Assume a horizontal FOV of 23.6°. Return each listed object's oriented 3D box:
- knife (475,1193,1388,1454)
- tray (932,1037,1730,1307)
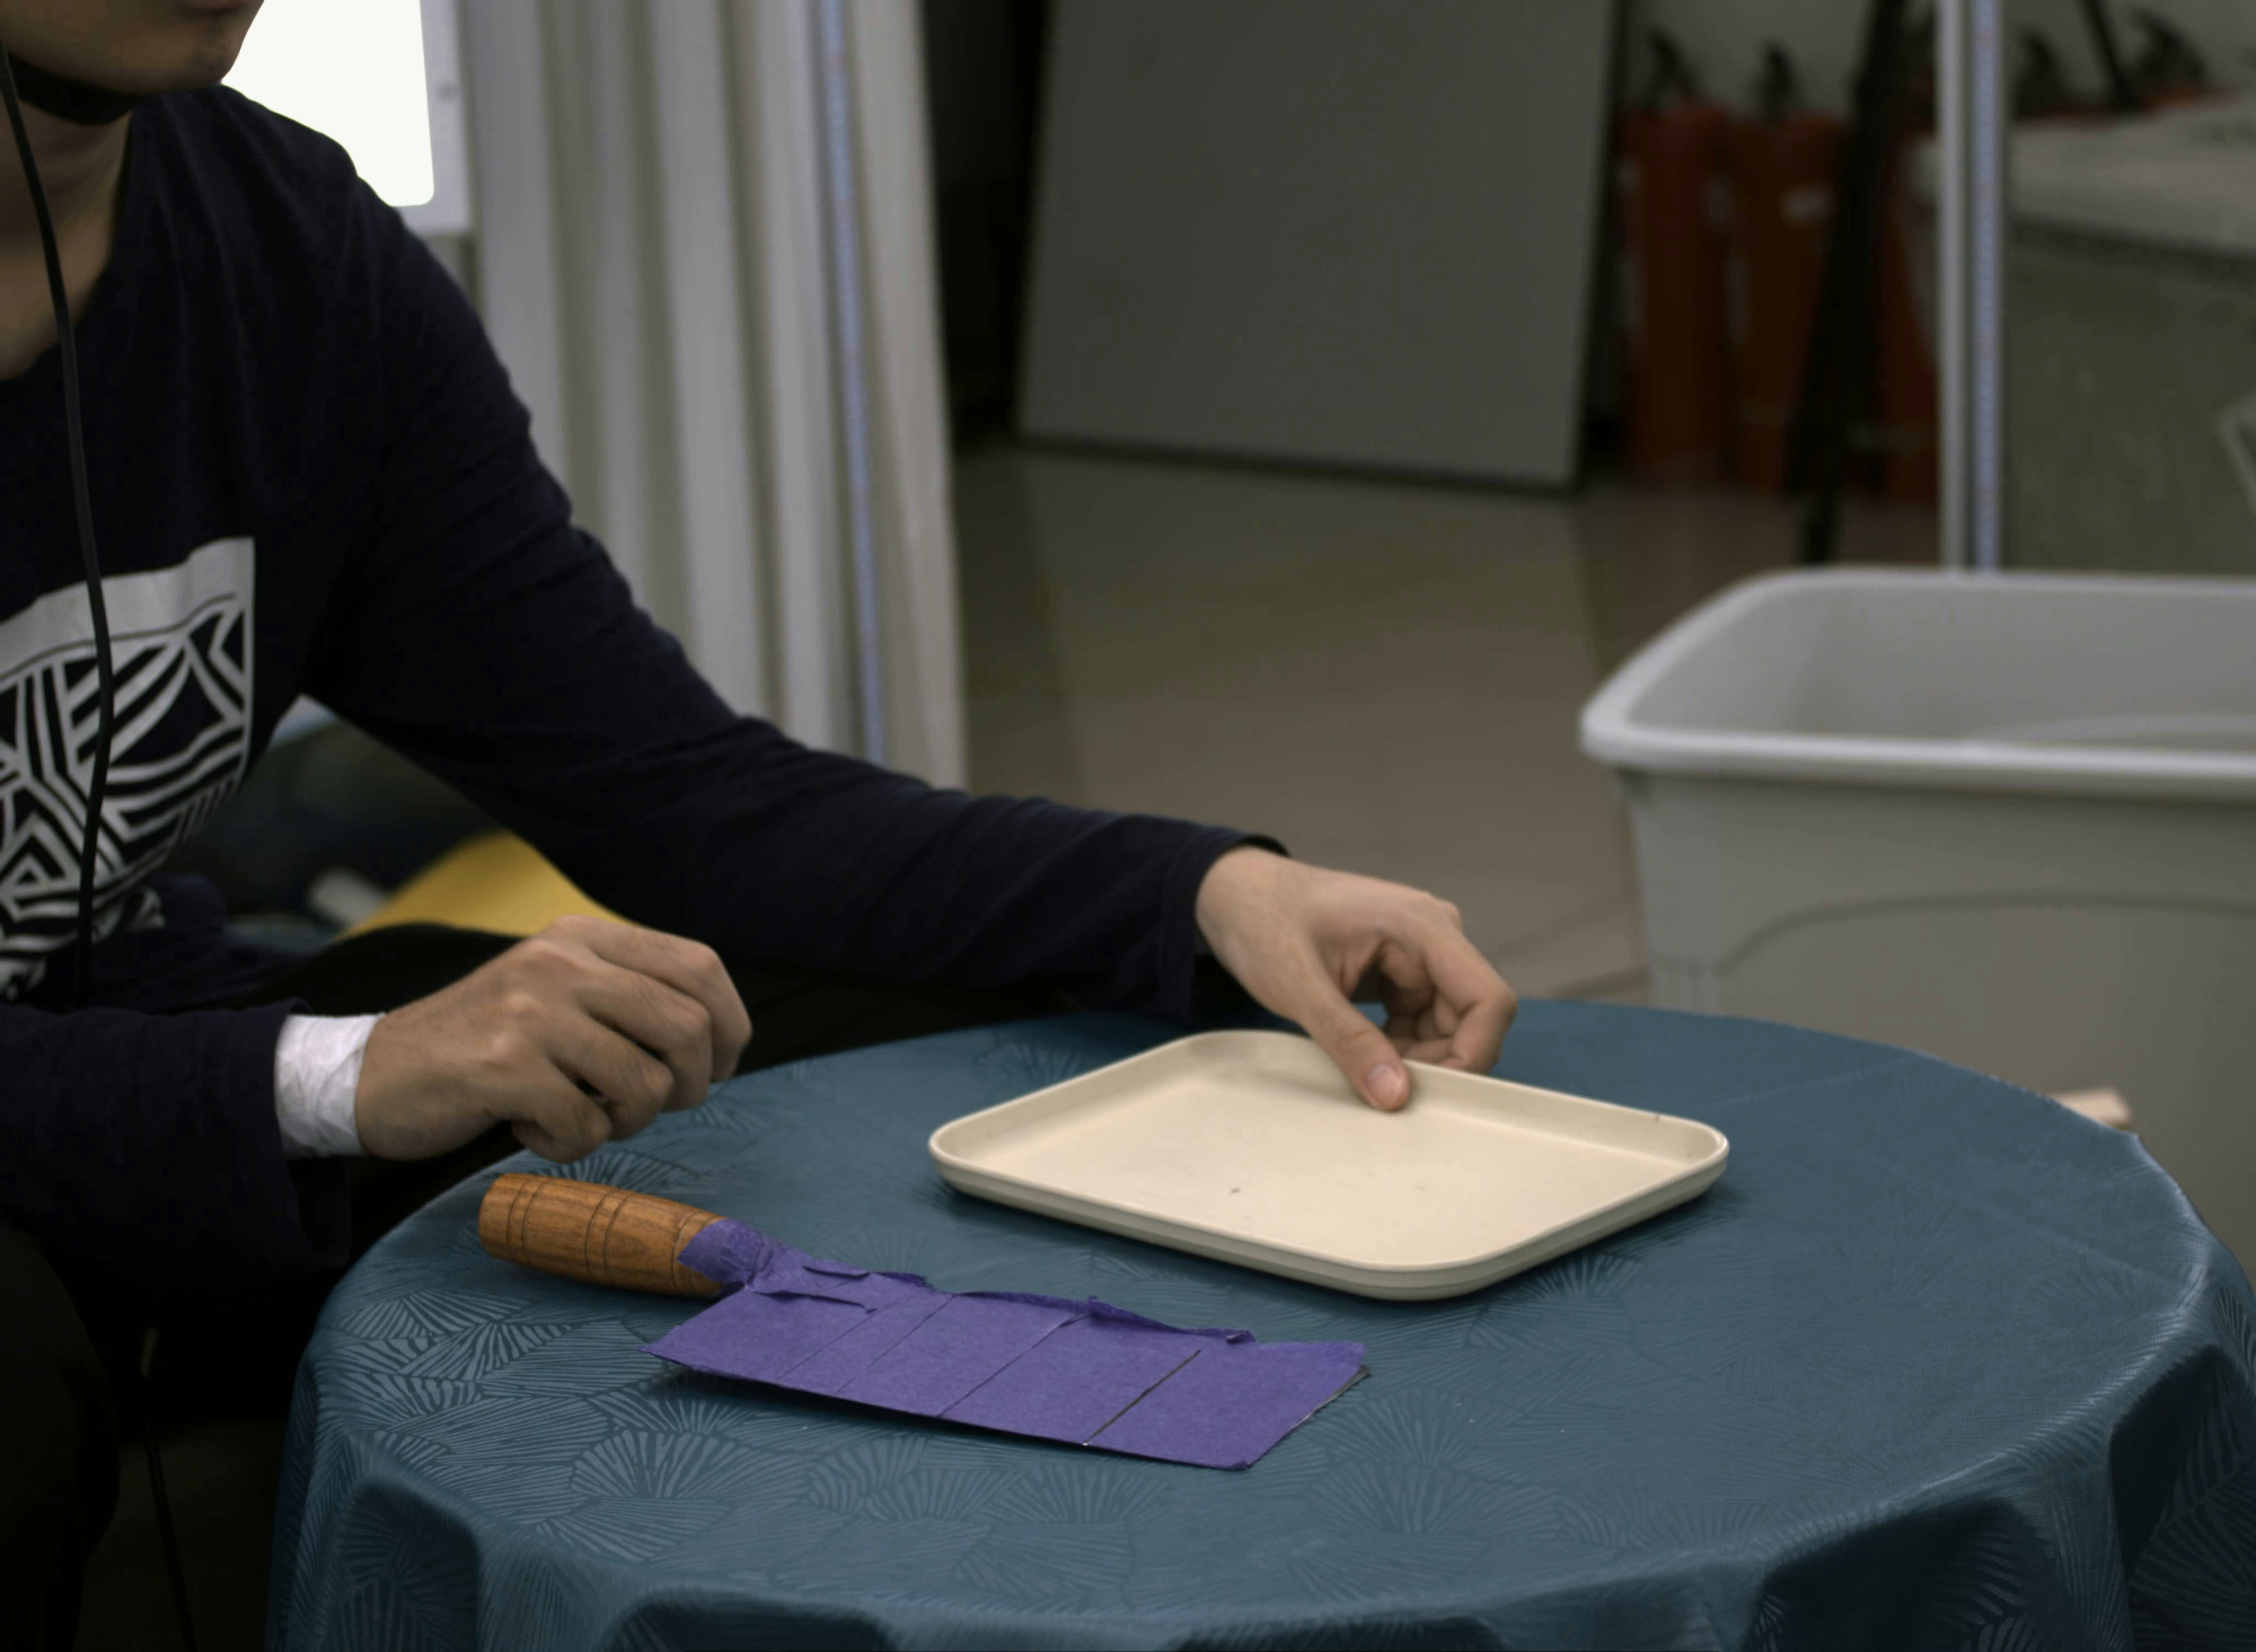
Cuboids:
[{"bbox_3d":[-0.080,0.149,1.627,0.316,0.032,0.102,4,15,30],"label":"knife"},{"bbox_3d":[0.065,0.112,1.758,0.168,0.017,0.242,-18,19,-42],"label":"tray"}]
